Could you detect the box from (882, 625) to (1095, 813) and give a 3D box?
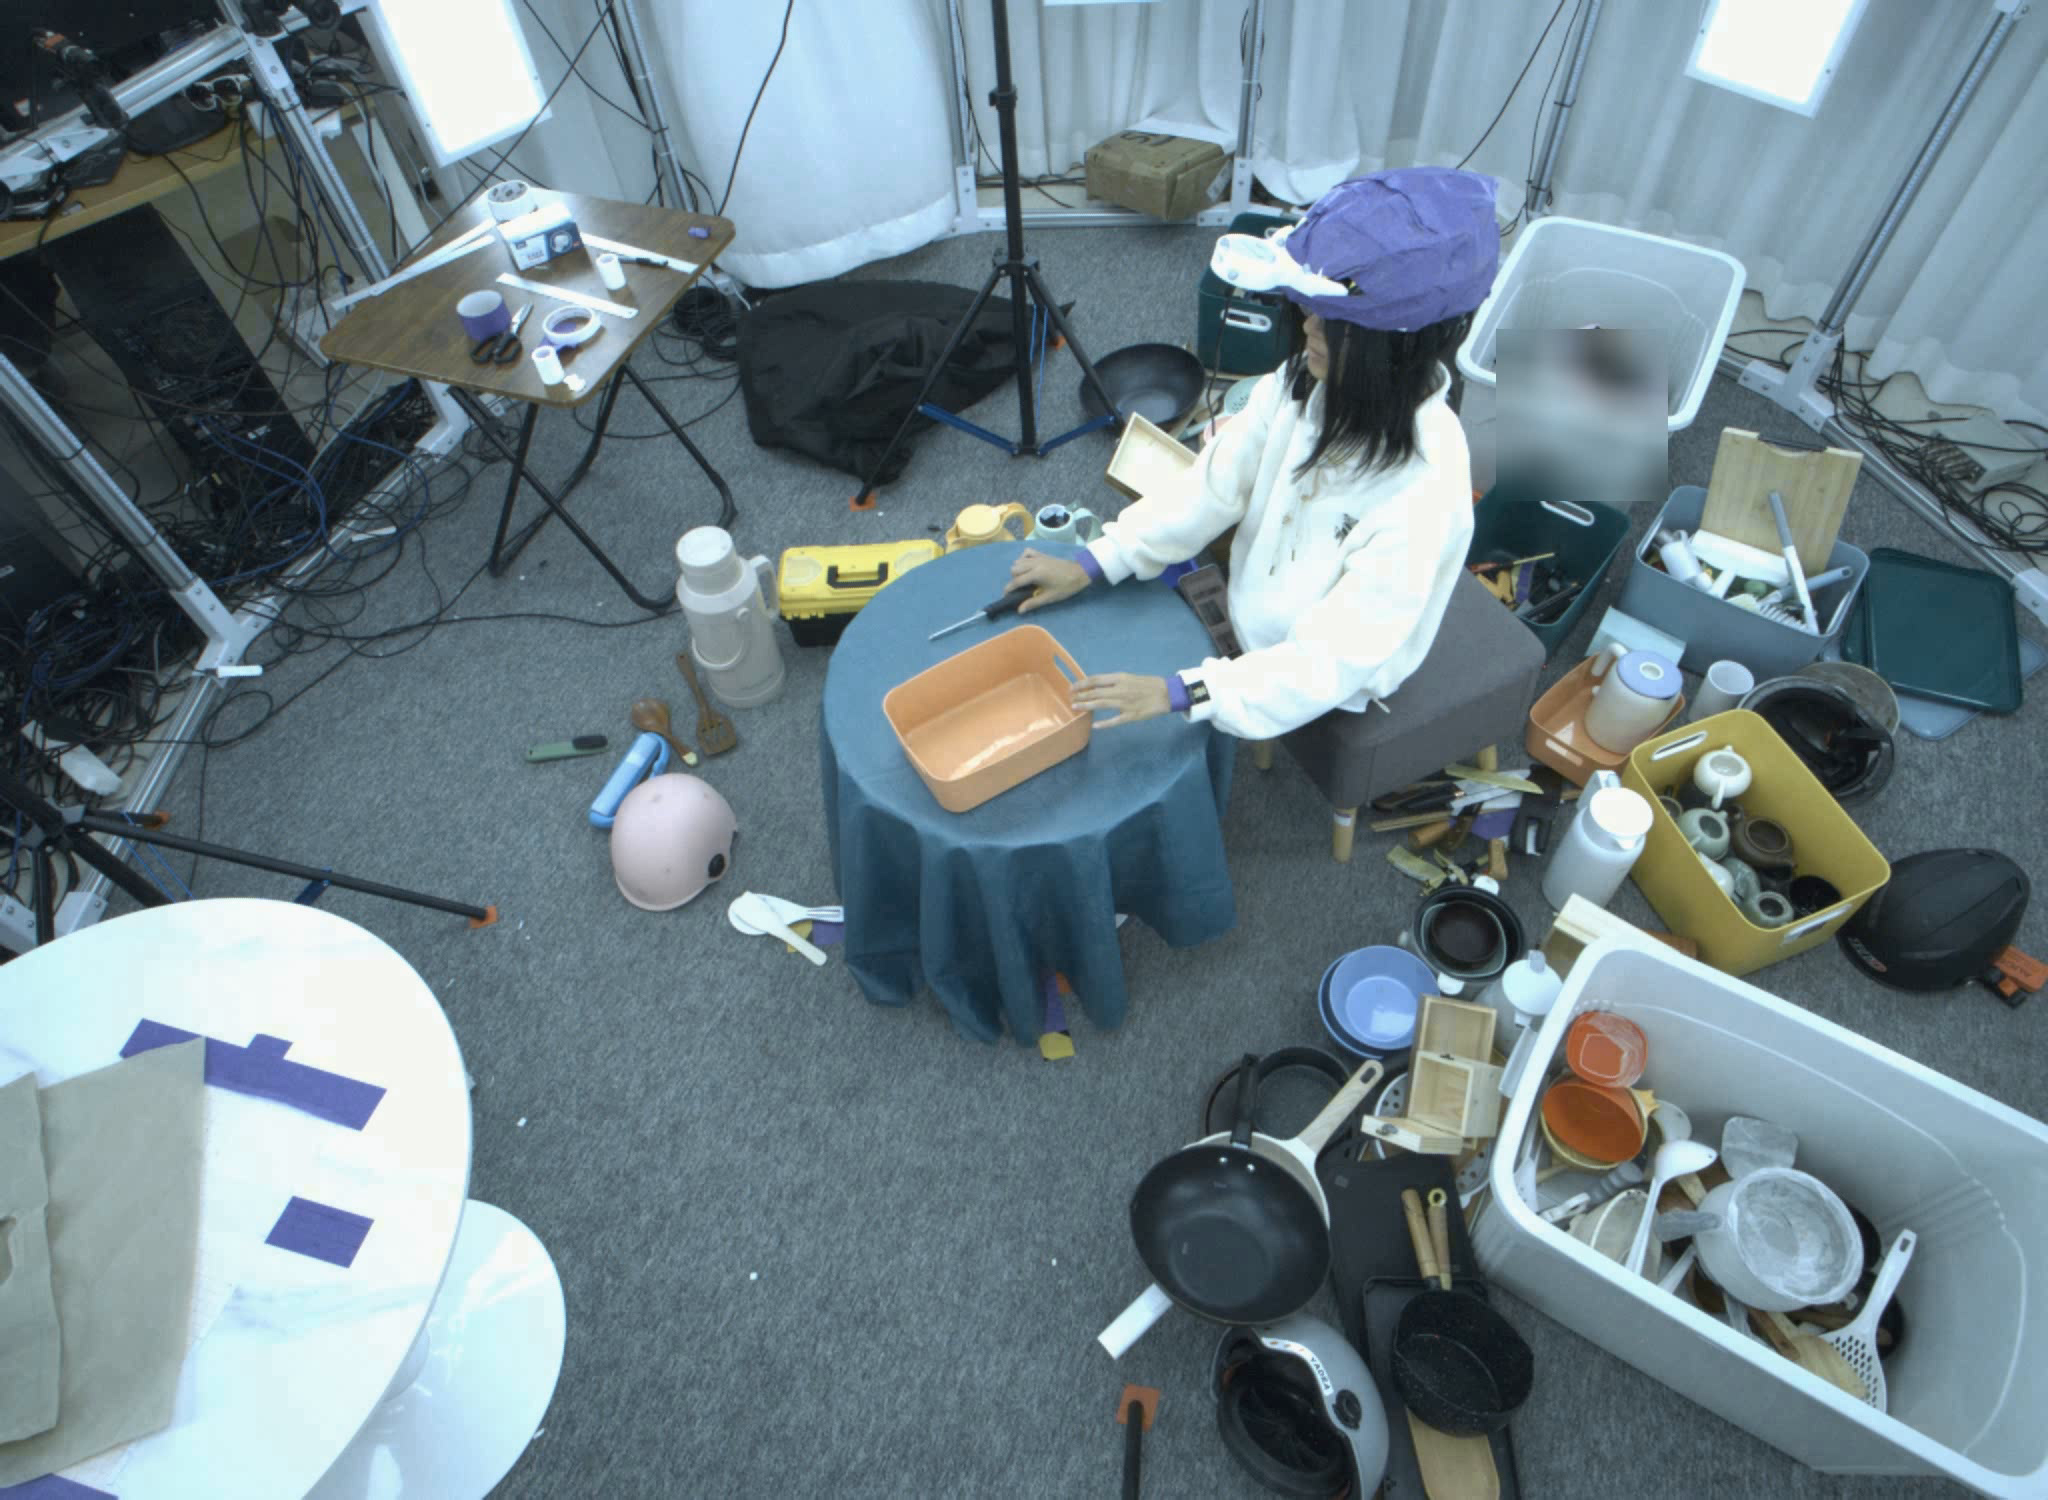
[{"bbox_3d":[-0.045,-0.041,1.753,0.275,0.104,0.195,-29,58,-16],"label":"box"}]

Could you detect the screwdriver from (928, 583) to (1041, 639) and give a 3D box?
[{"bbox_3d":[-0.064,-0.218,1.933,0.197,0.032,0.031,-24,57,-10],"label":"screwdriver"}]
